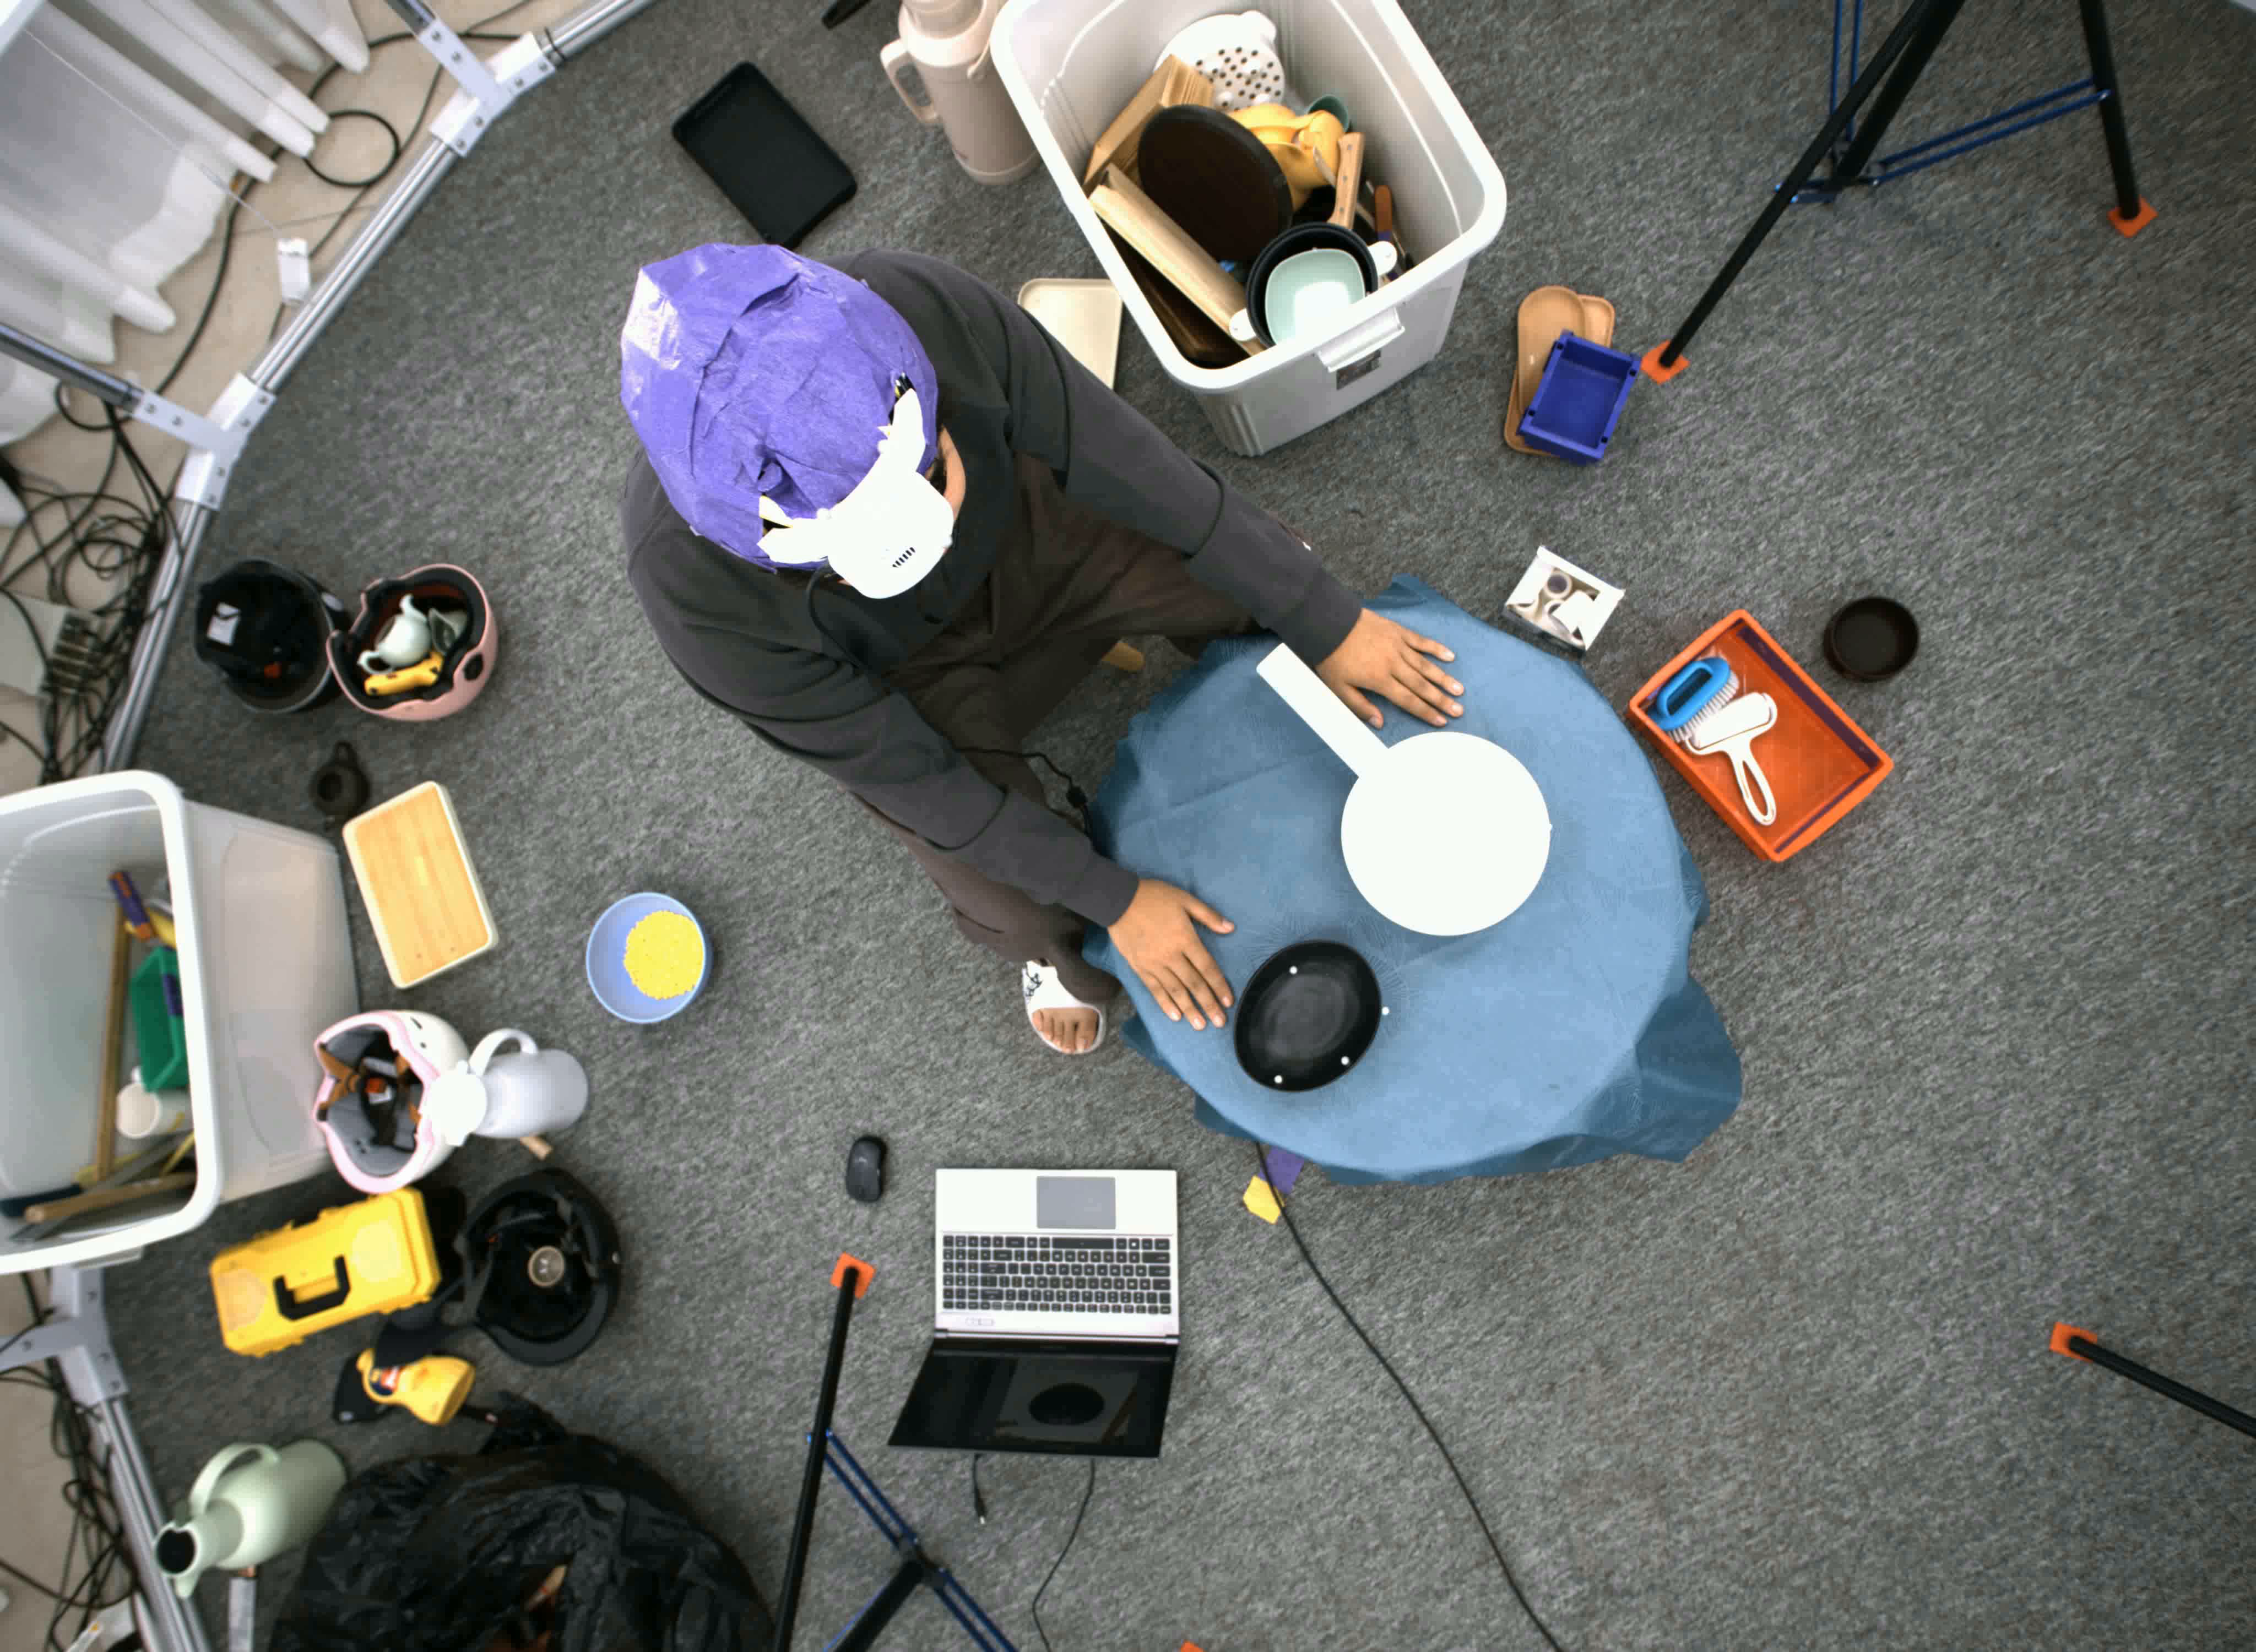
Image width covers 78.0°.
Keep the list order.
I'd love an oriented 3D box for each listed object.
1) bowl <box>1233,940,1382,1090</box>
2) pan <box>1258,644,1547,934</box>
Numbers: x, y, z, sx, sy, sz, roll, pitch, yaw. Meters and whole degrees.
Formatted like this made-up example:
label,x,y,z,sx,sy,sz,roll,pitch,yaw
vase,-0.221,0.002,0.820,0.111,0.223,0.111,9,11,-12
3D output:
label,x,y,z,sx,sy,sz,roll,pitch,yaw
bowl,0.187,0.195,1.437,0.137,0.066,0.171,41,95,11
pan,0.271,-0.045,1.423,0.202,0.102,0.352,-44,78,7
